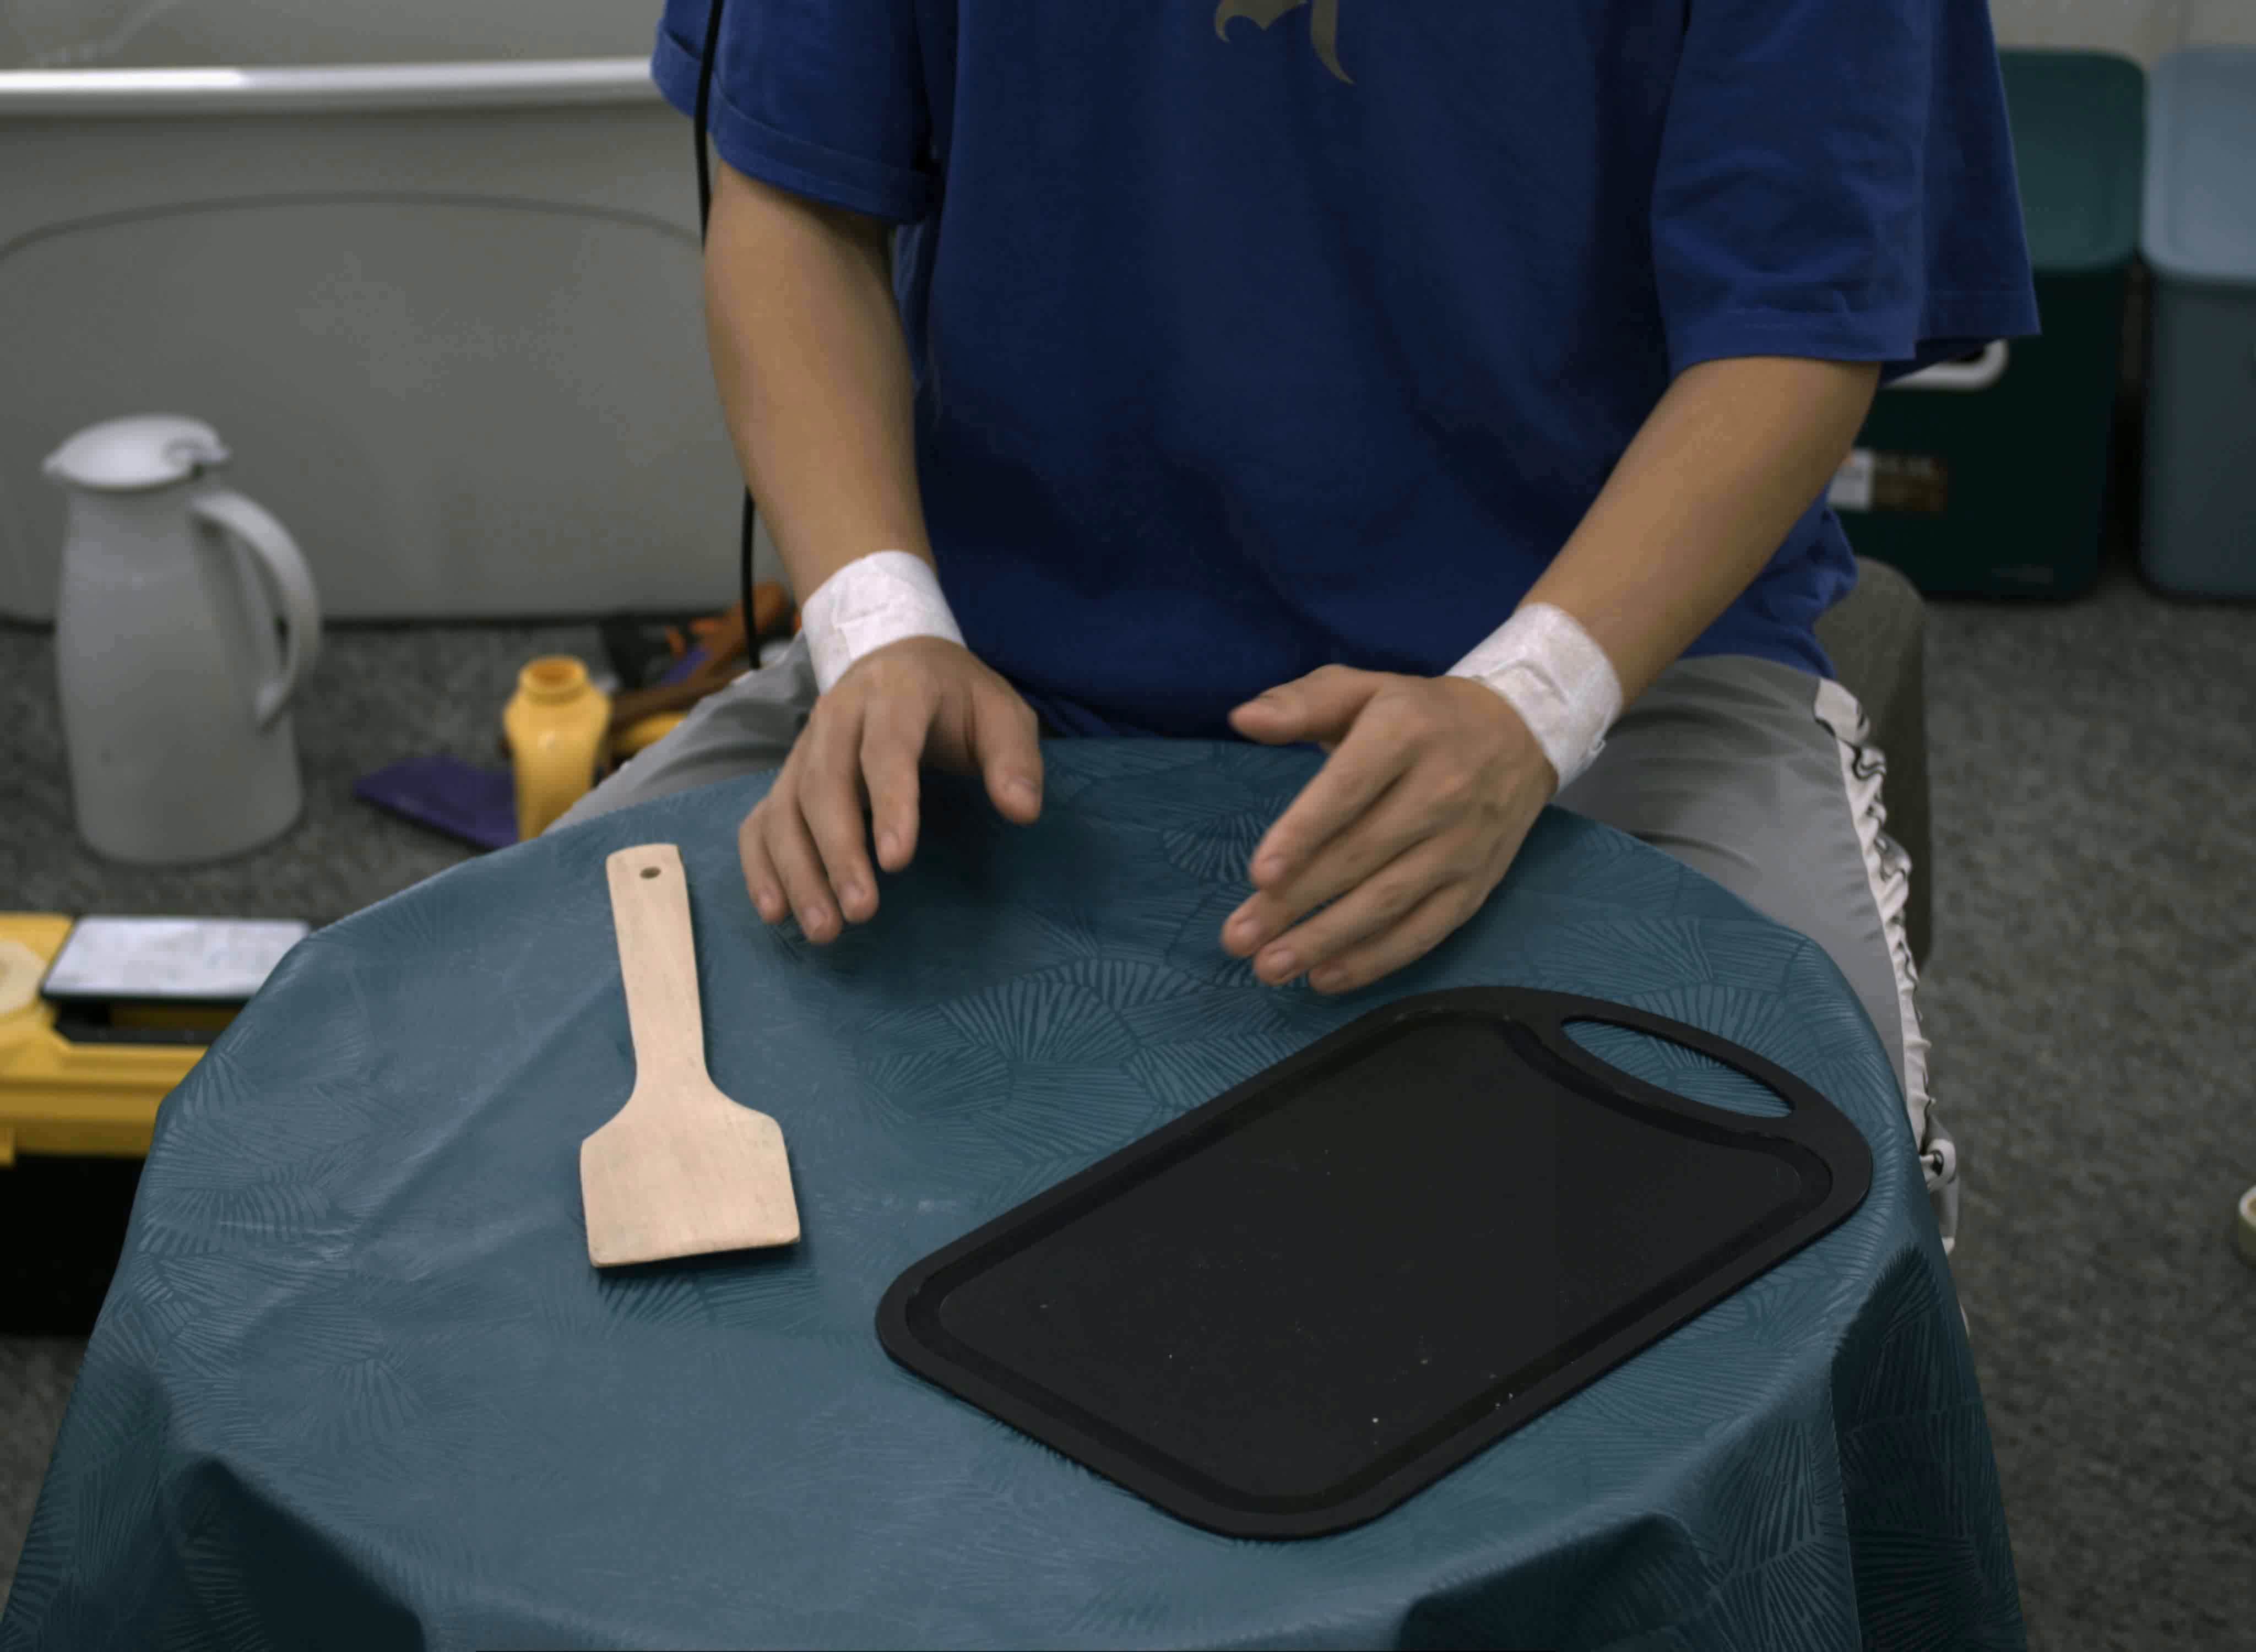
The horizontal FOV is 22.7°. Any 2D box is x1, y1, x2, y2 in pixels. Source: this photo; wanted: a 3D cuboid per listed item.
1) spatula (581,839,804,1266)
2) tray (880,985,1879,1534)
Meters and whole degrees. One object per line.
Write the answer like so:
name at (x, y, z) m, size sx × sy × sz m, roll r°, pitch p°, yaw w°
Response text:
spatula at (-0.160, 0.075, 1.958) m, size 0.072 × 0.010 × 0.297 m, roll -7°, pitch 28°, yaw -5°
tray at (0.089, 0.130, 1.829) m, size 0.329 × 0.009 × 0.211 m, roll -26°, pitch 35°, yaw -37°
